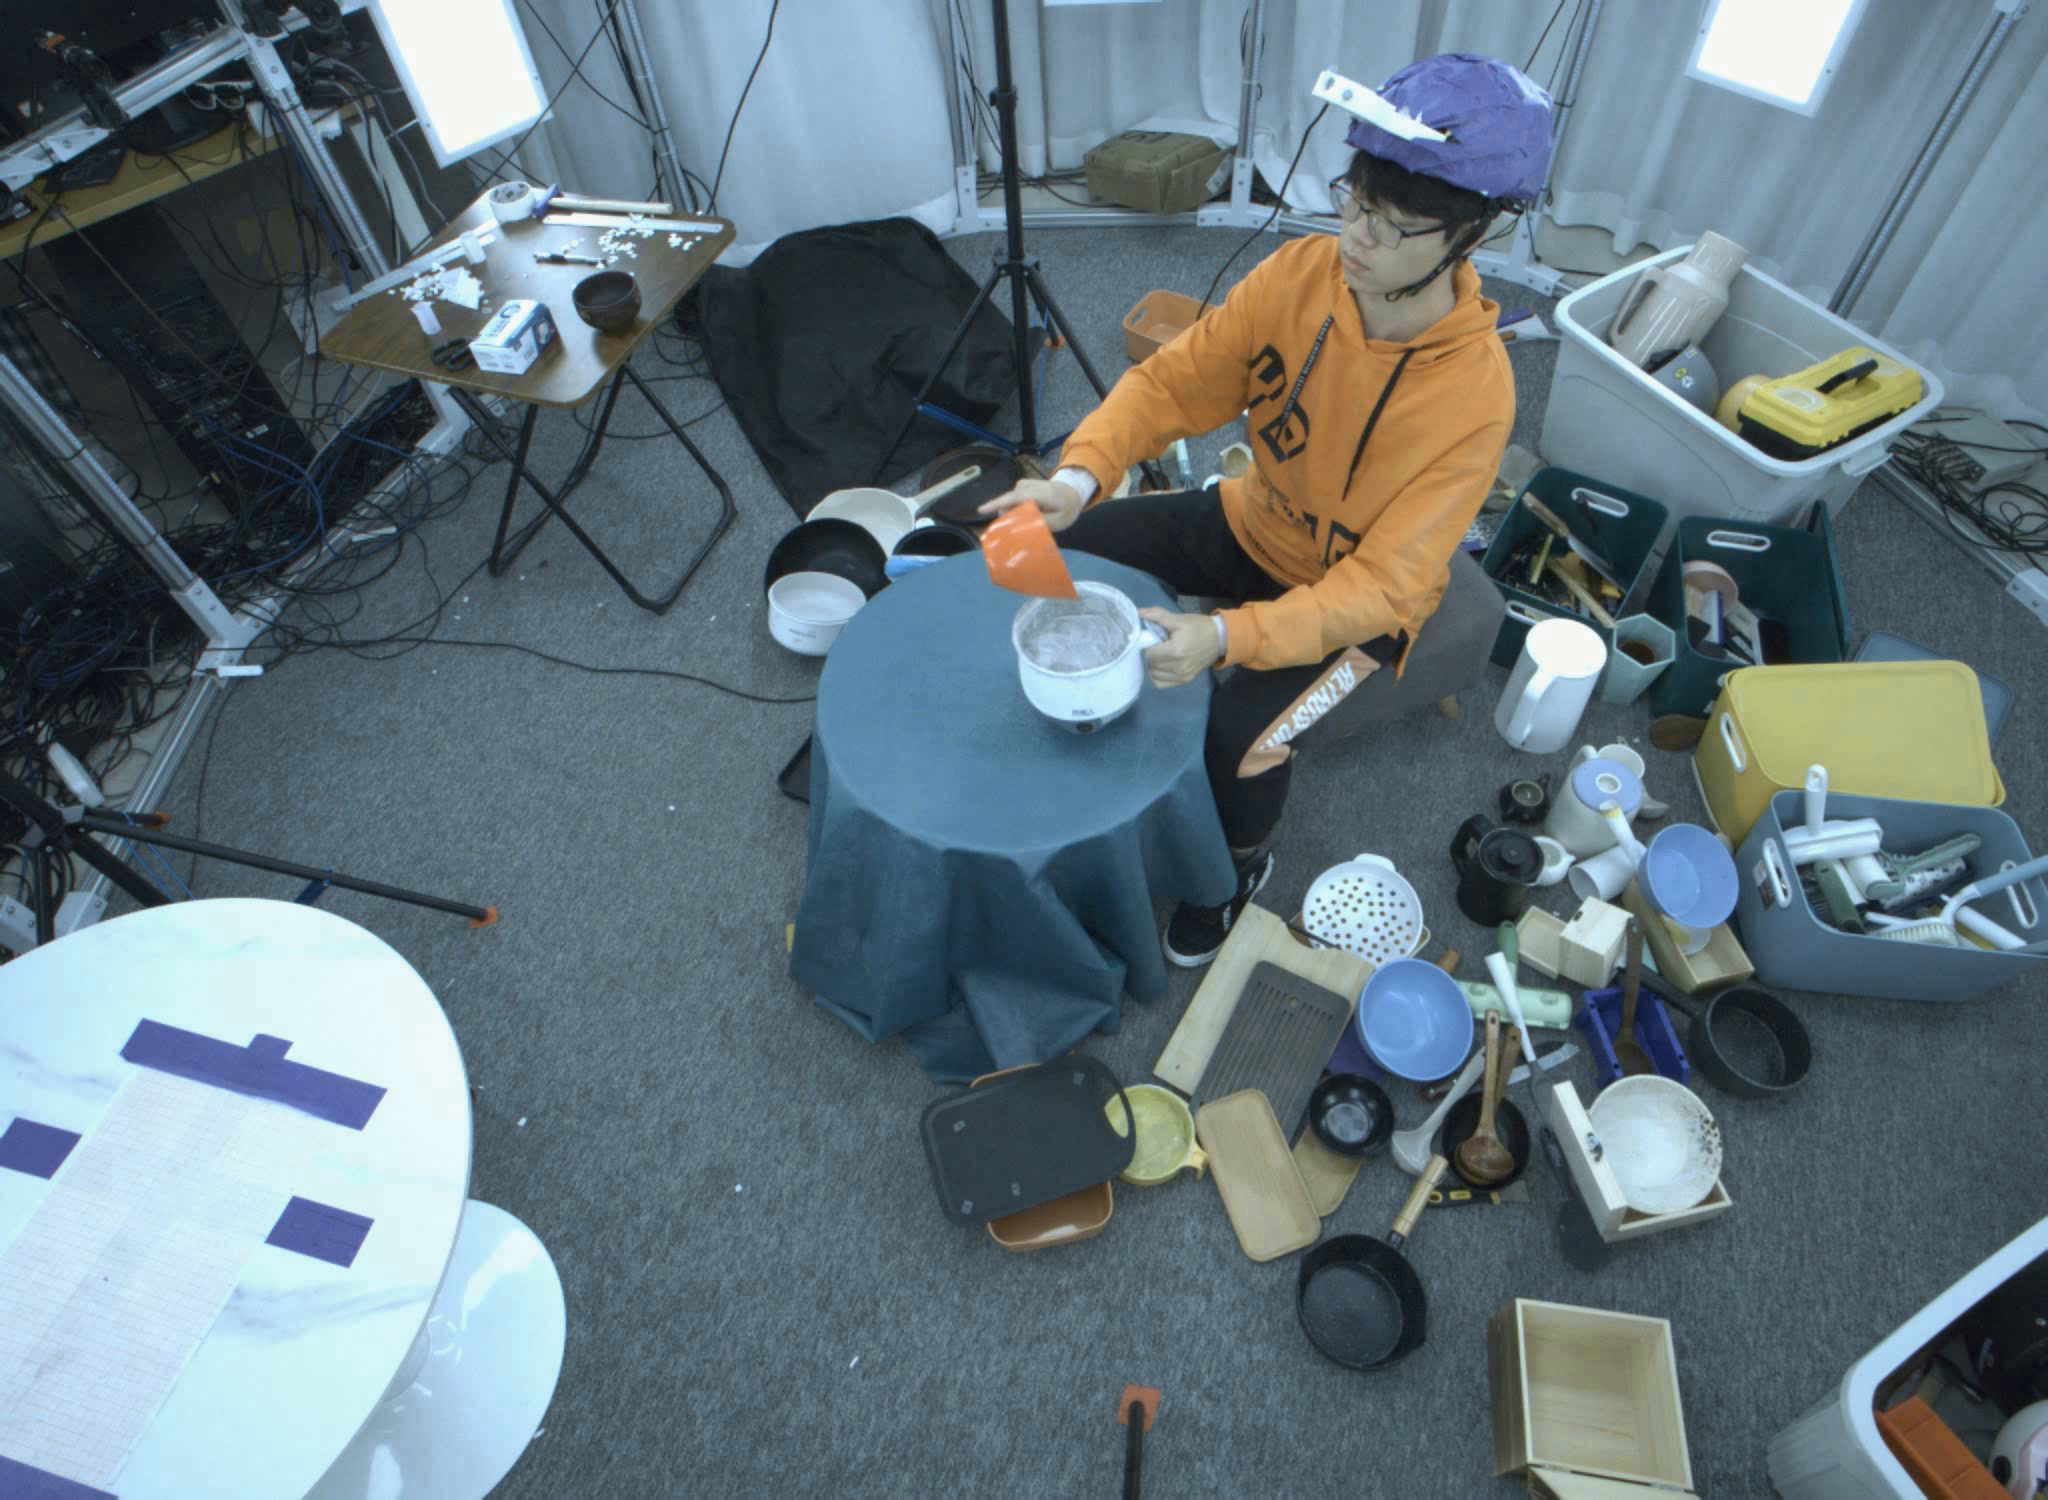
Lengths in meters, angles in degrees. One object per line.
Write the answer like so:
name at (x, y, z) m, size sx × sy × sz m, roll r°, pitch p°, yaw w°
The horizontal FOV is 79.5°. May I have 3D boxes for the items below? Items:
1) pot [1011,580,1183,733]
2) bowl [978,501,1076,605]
pot at (0.106, -0.134, 1.735) m, size 0.233 × 0.138 × 0.176 m, roll -5°, pitch 55°, yaw 4°
bowl at (-0.001, -0.249, 1.616) m, size 0.105 × 0.150 × 0.146 m, roll -15°, pitch 55°, yaw -1°
